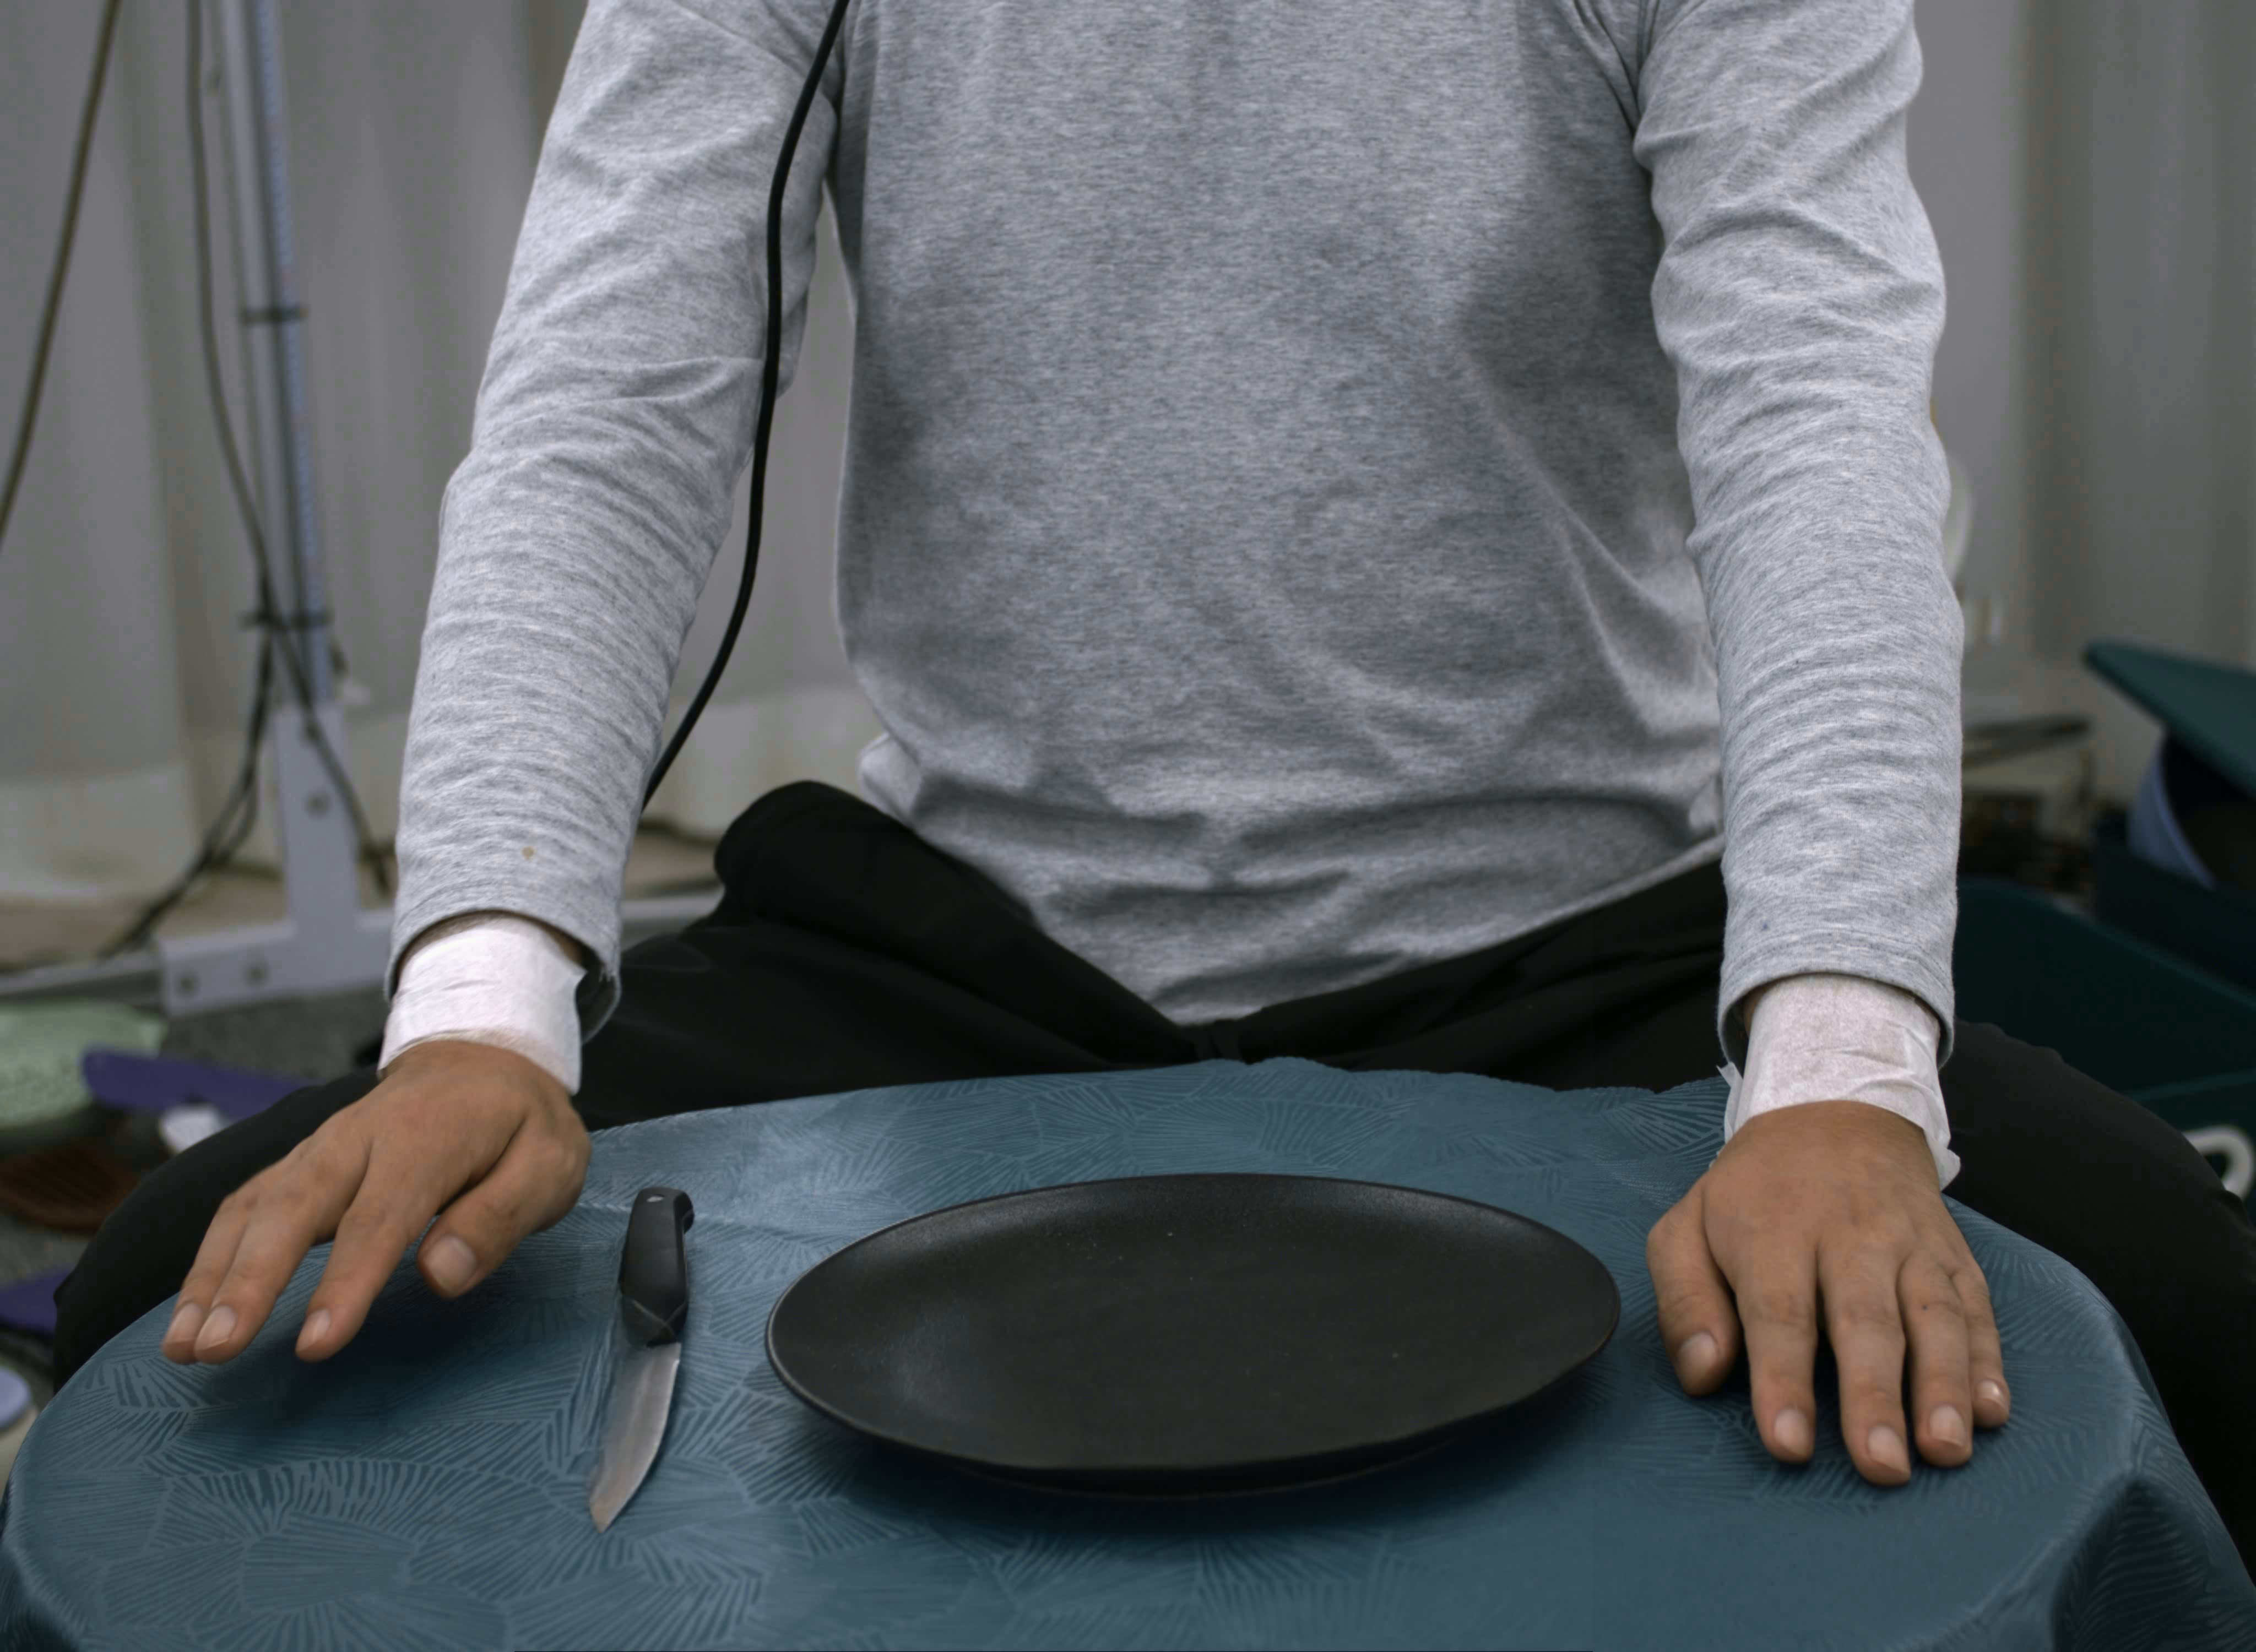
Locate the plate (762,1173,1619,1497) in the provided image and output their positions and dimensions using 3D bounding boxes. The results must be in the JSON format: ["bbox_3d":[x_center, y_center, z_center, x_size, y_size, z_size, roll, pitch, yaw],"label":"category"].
[{"bbox_3d":[0.018,0.147,1.550,0.243,0.023,0.246,-3,15,0],"label":"plate"}]

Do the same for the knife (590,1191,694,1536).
[{"bbox_3d":[-0.141,0.154,1.574,0.024,0.016,0.240,-6,17,0],"label":"knife"}]
